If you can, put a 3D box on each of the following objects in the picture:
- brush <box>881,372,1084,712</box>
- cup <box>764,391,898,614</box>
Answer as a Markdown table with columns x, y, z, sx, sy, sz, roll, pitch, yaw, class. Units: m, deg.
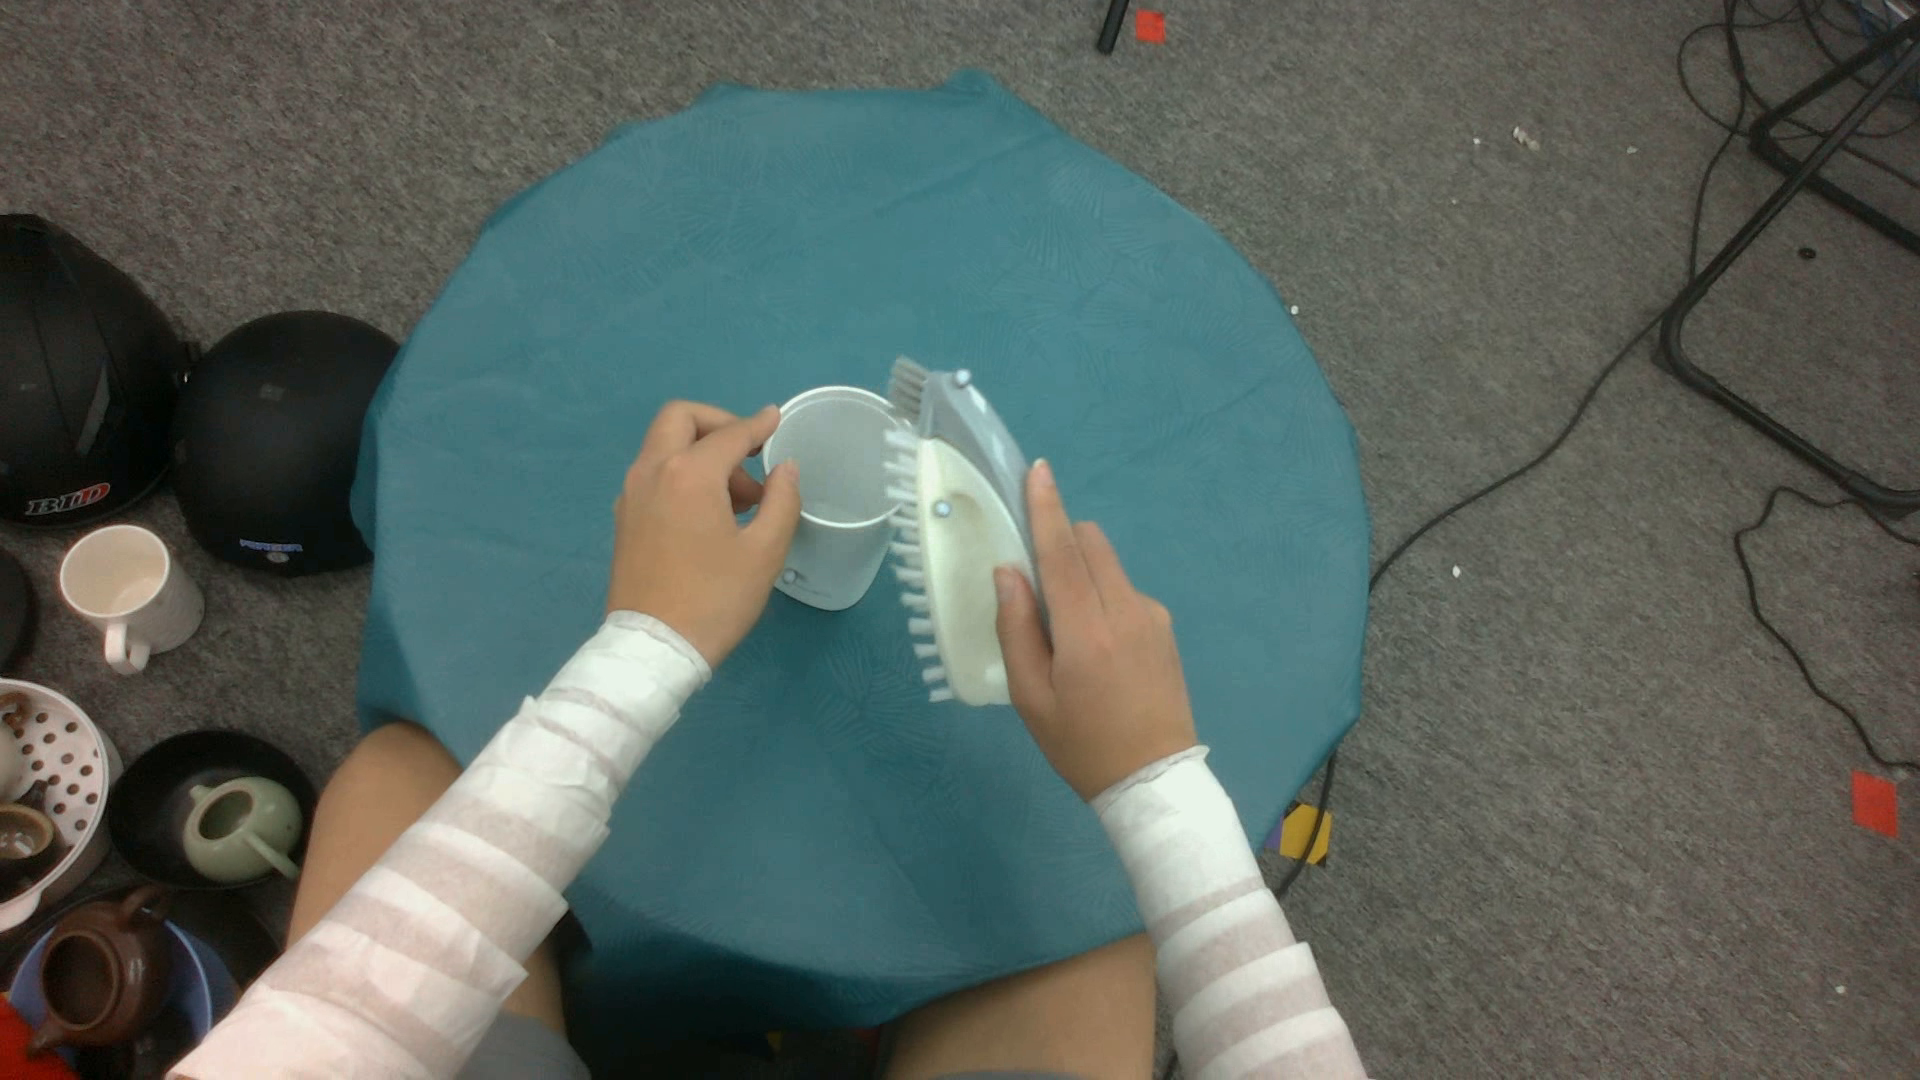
| x | y | z | sx | sy | sz | roll | pitch | yaw | class |
| --- | --- | --- | --- | --- | --- | --- | --- | --- | --- |
| 0.012 | 0.000 | 0.671 | 0.062 | 0.094 | 0.175 | -22 | 104 | -39 | brush |
| -0.070 | -0.015 | 0.759 | 0.082 | 0.125 | 0.082 | 4 | 64 | -9 | cup |
